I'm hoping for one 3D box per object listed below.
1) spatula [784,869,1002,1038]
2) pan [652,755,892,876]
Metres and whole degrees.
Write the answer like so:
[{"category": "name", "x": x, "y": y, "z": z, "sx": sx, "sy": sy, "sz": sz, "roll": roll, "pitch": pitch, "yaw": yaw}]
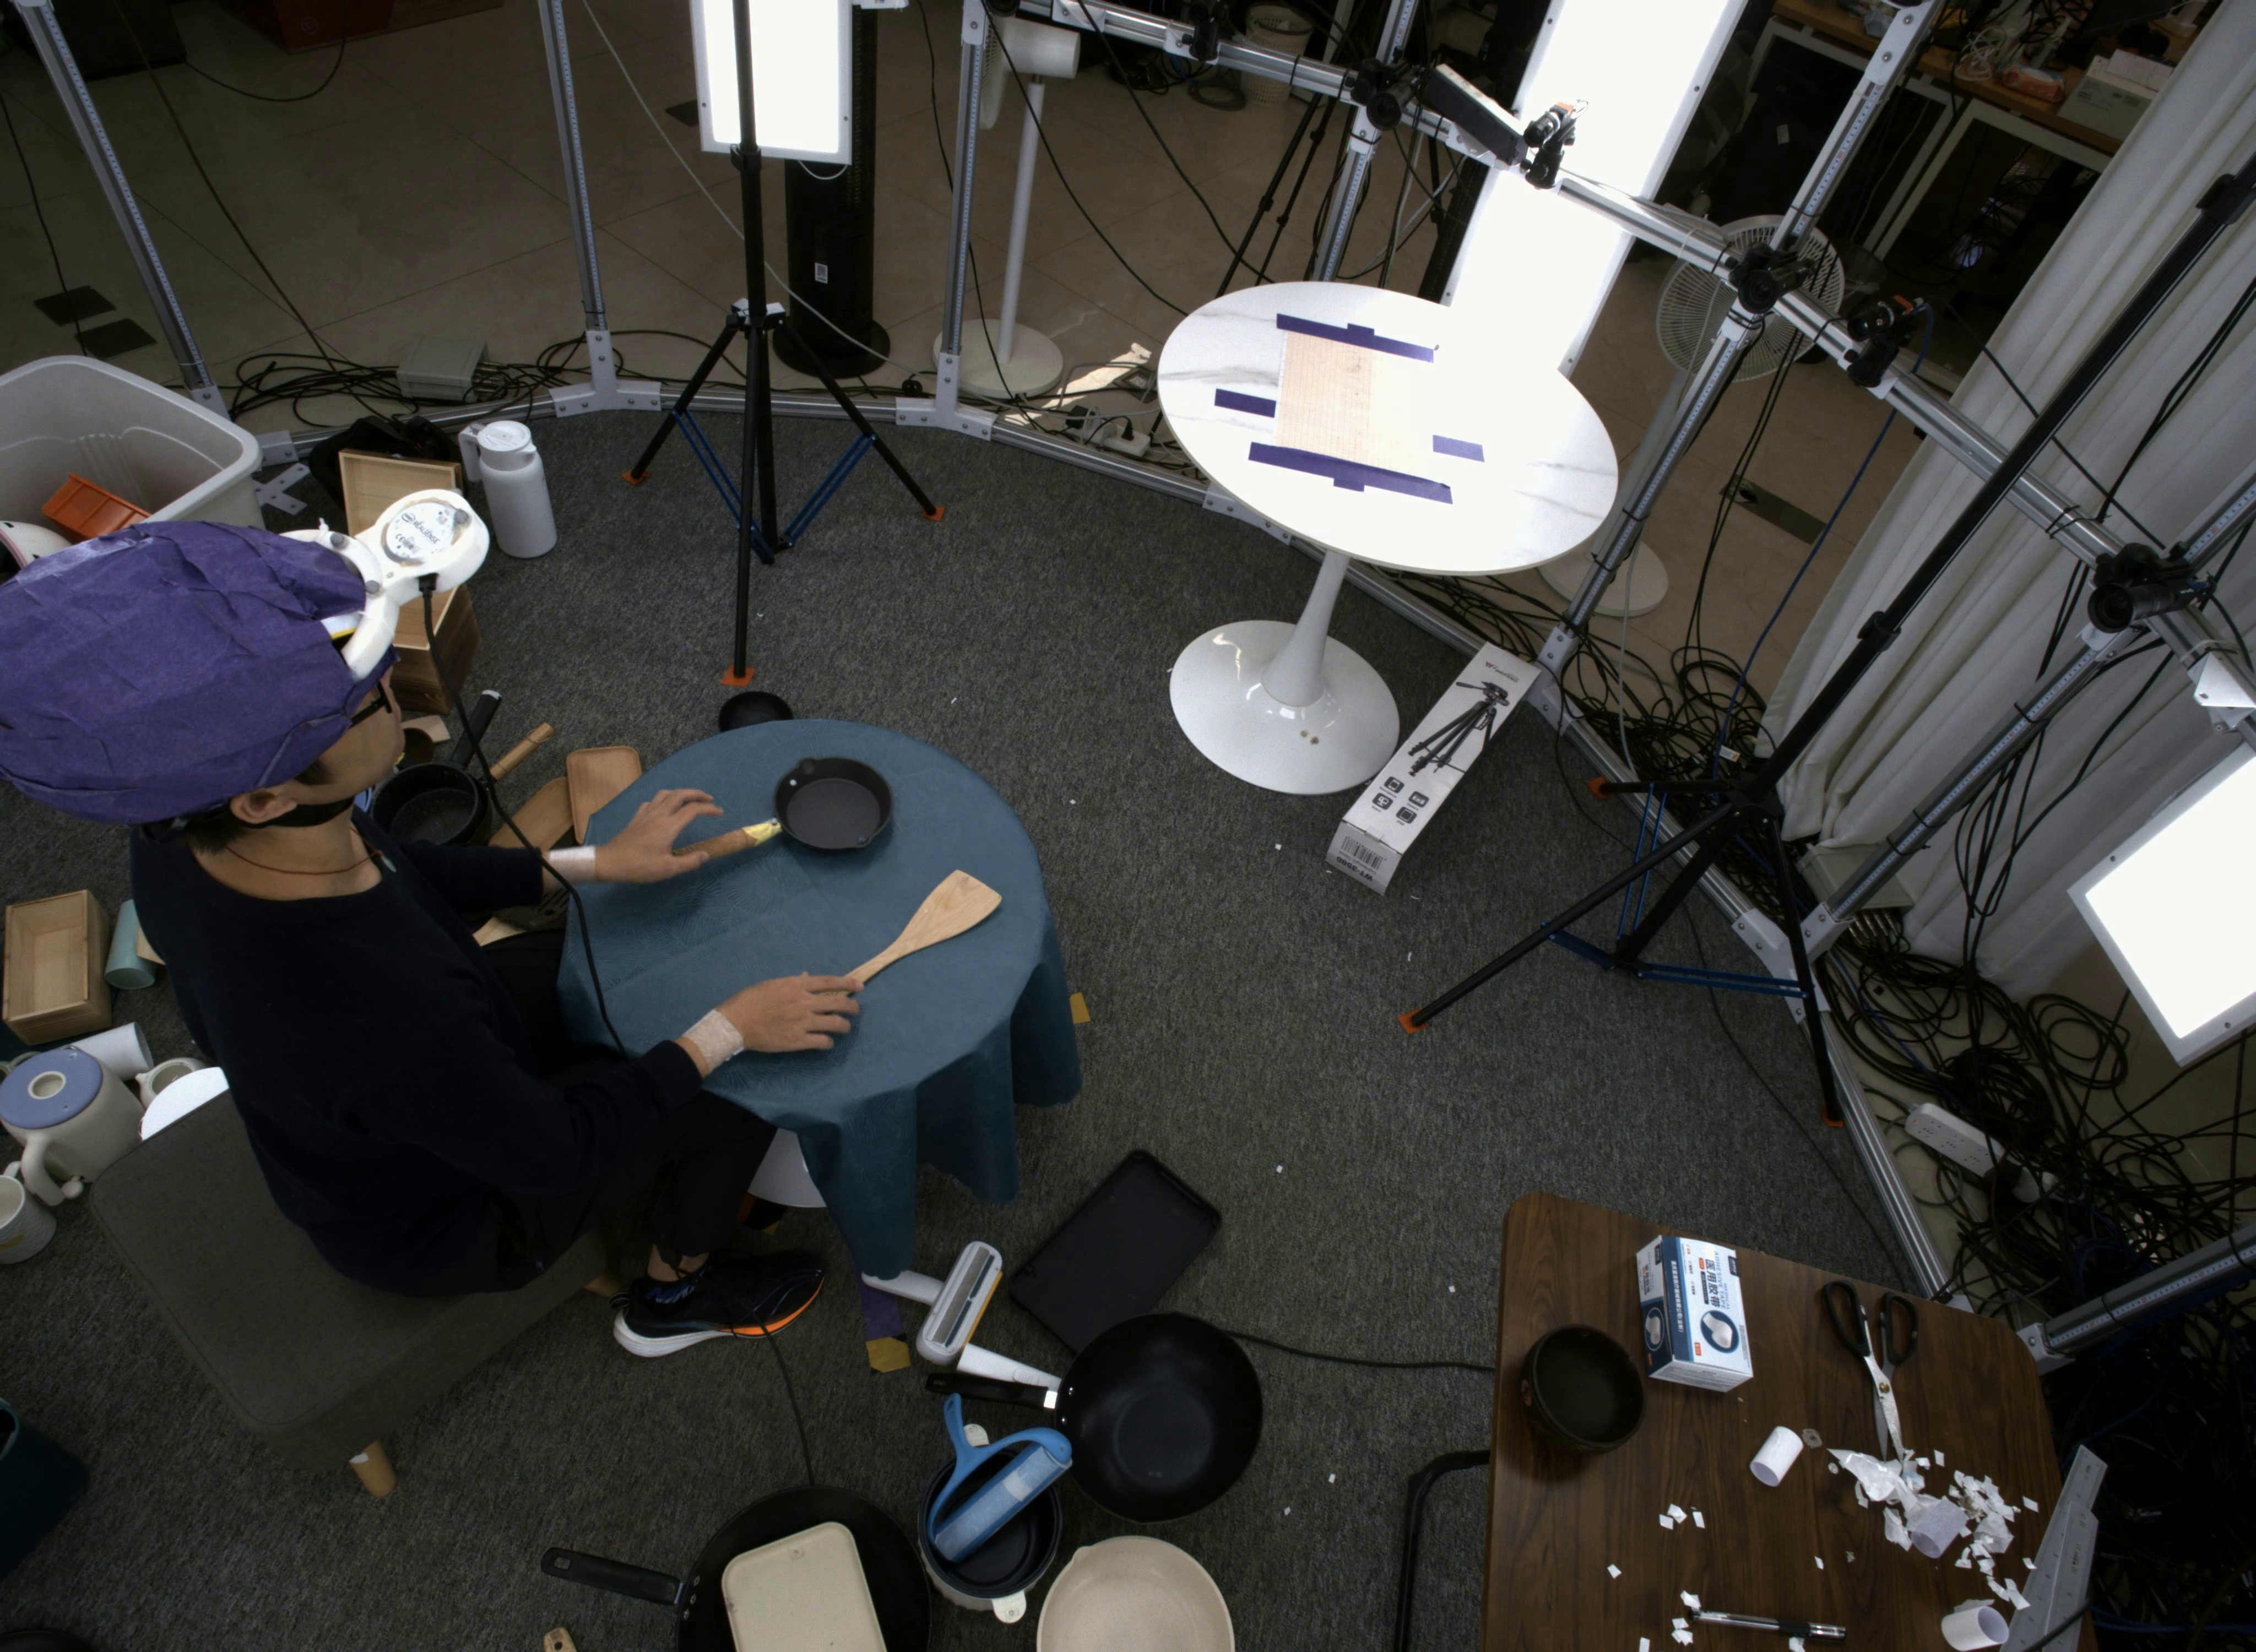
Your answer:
[{"category": "spatula", "x": -0.297, "y": 0.156, "z": 1.620, "sx": 0.078, "sy": 0.017, "sz": 0.328, "roll": 40, "pitch": 54, "yaw": 17}, {"category": "pan", "x": -0.459, "y": 0.000, "z": 1.672, "sx": 0.326, "sy": 0.050, "sz": 0.165, "roll": -23, "pitch": 62, "yaw": -30}]
